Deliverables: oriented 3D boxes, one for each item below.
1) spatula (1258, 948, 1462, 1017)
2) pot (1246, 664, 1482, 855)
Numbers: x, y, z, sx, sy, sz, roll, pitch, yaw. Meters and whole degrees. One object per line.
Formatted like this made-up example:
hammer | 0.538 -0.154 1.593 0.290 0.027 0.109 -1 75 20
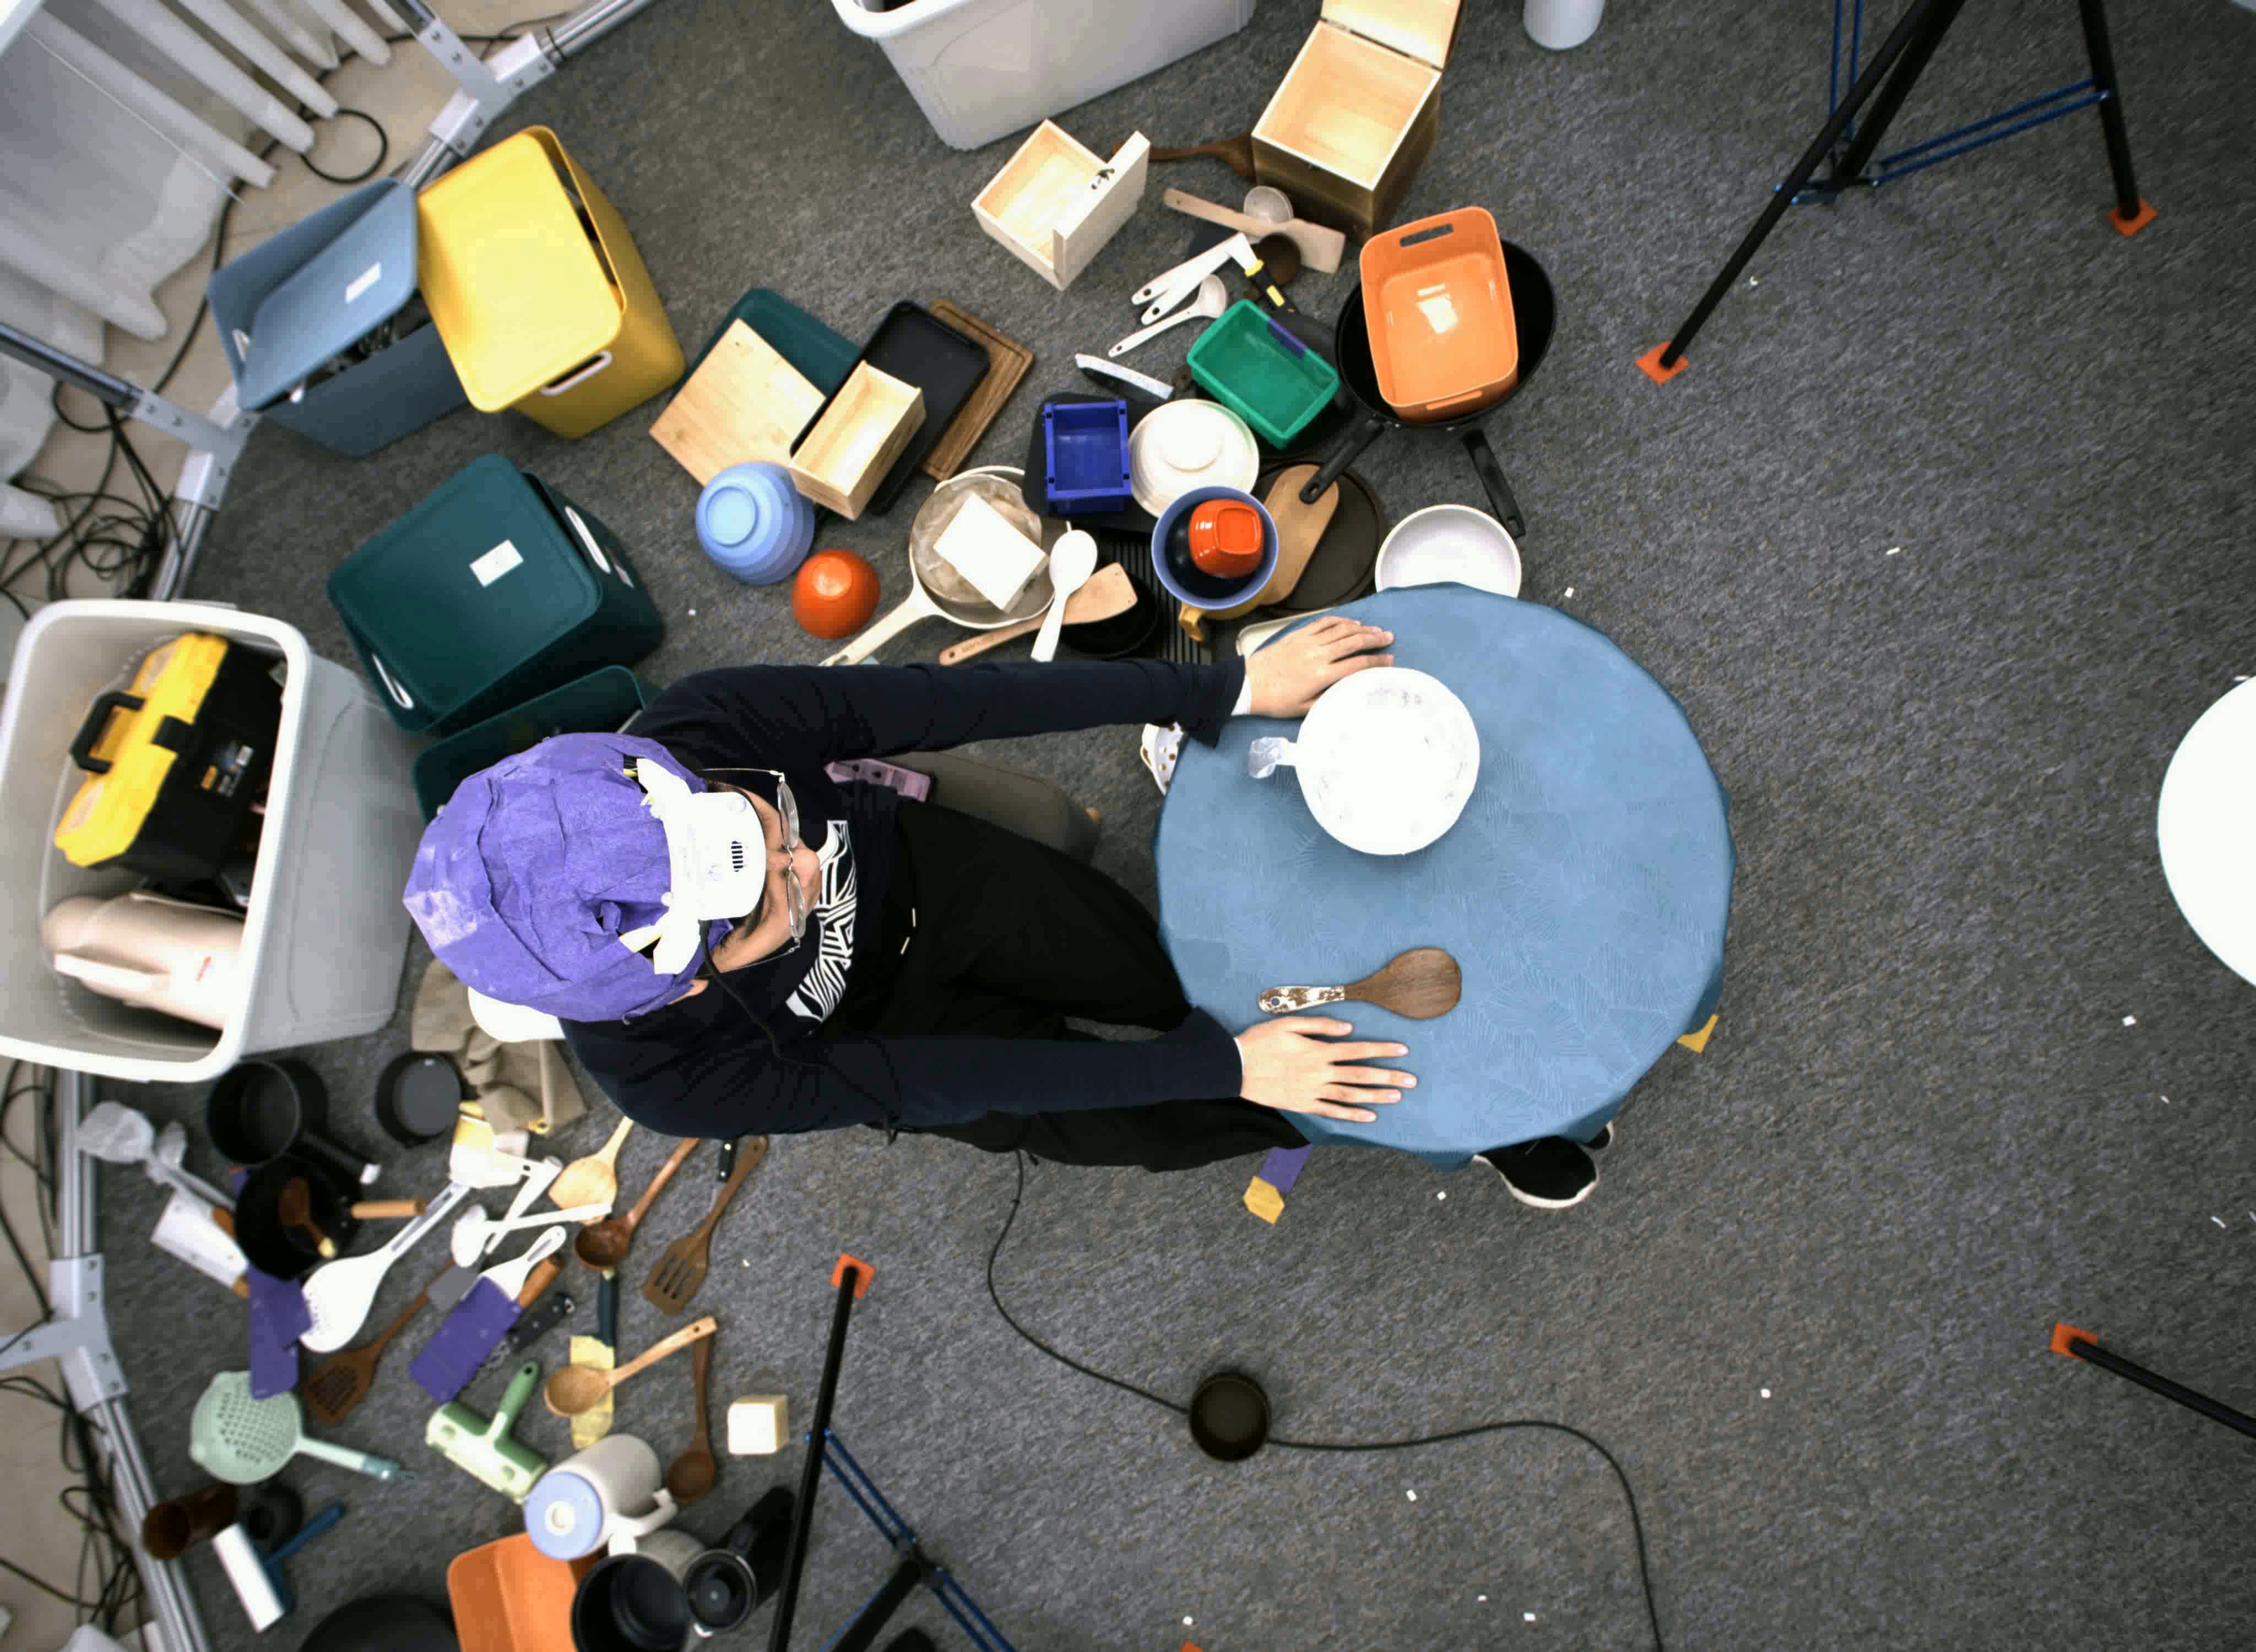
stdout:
spatula | 0.243 0.171 1.458 0.217 0.009 0.071 -8 84 11
pot | 0.235 -0.065 1.403 0.234 0.137 0.177 3 84 9
